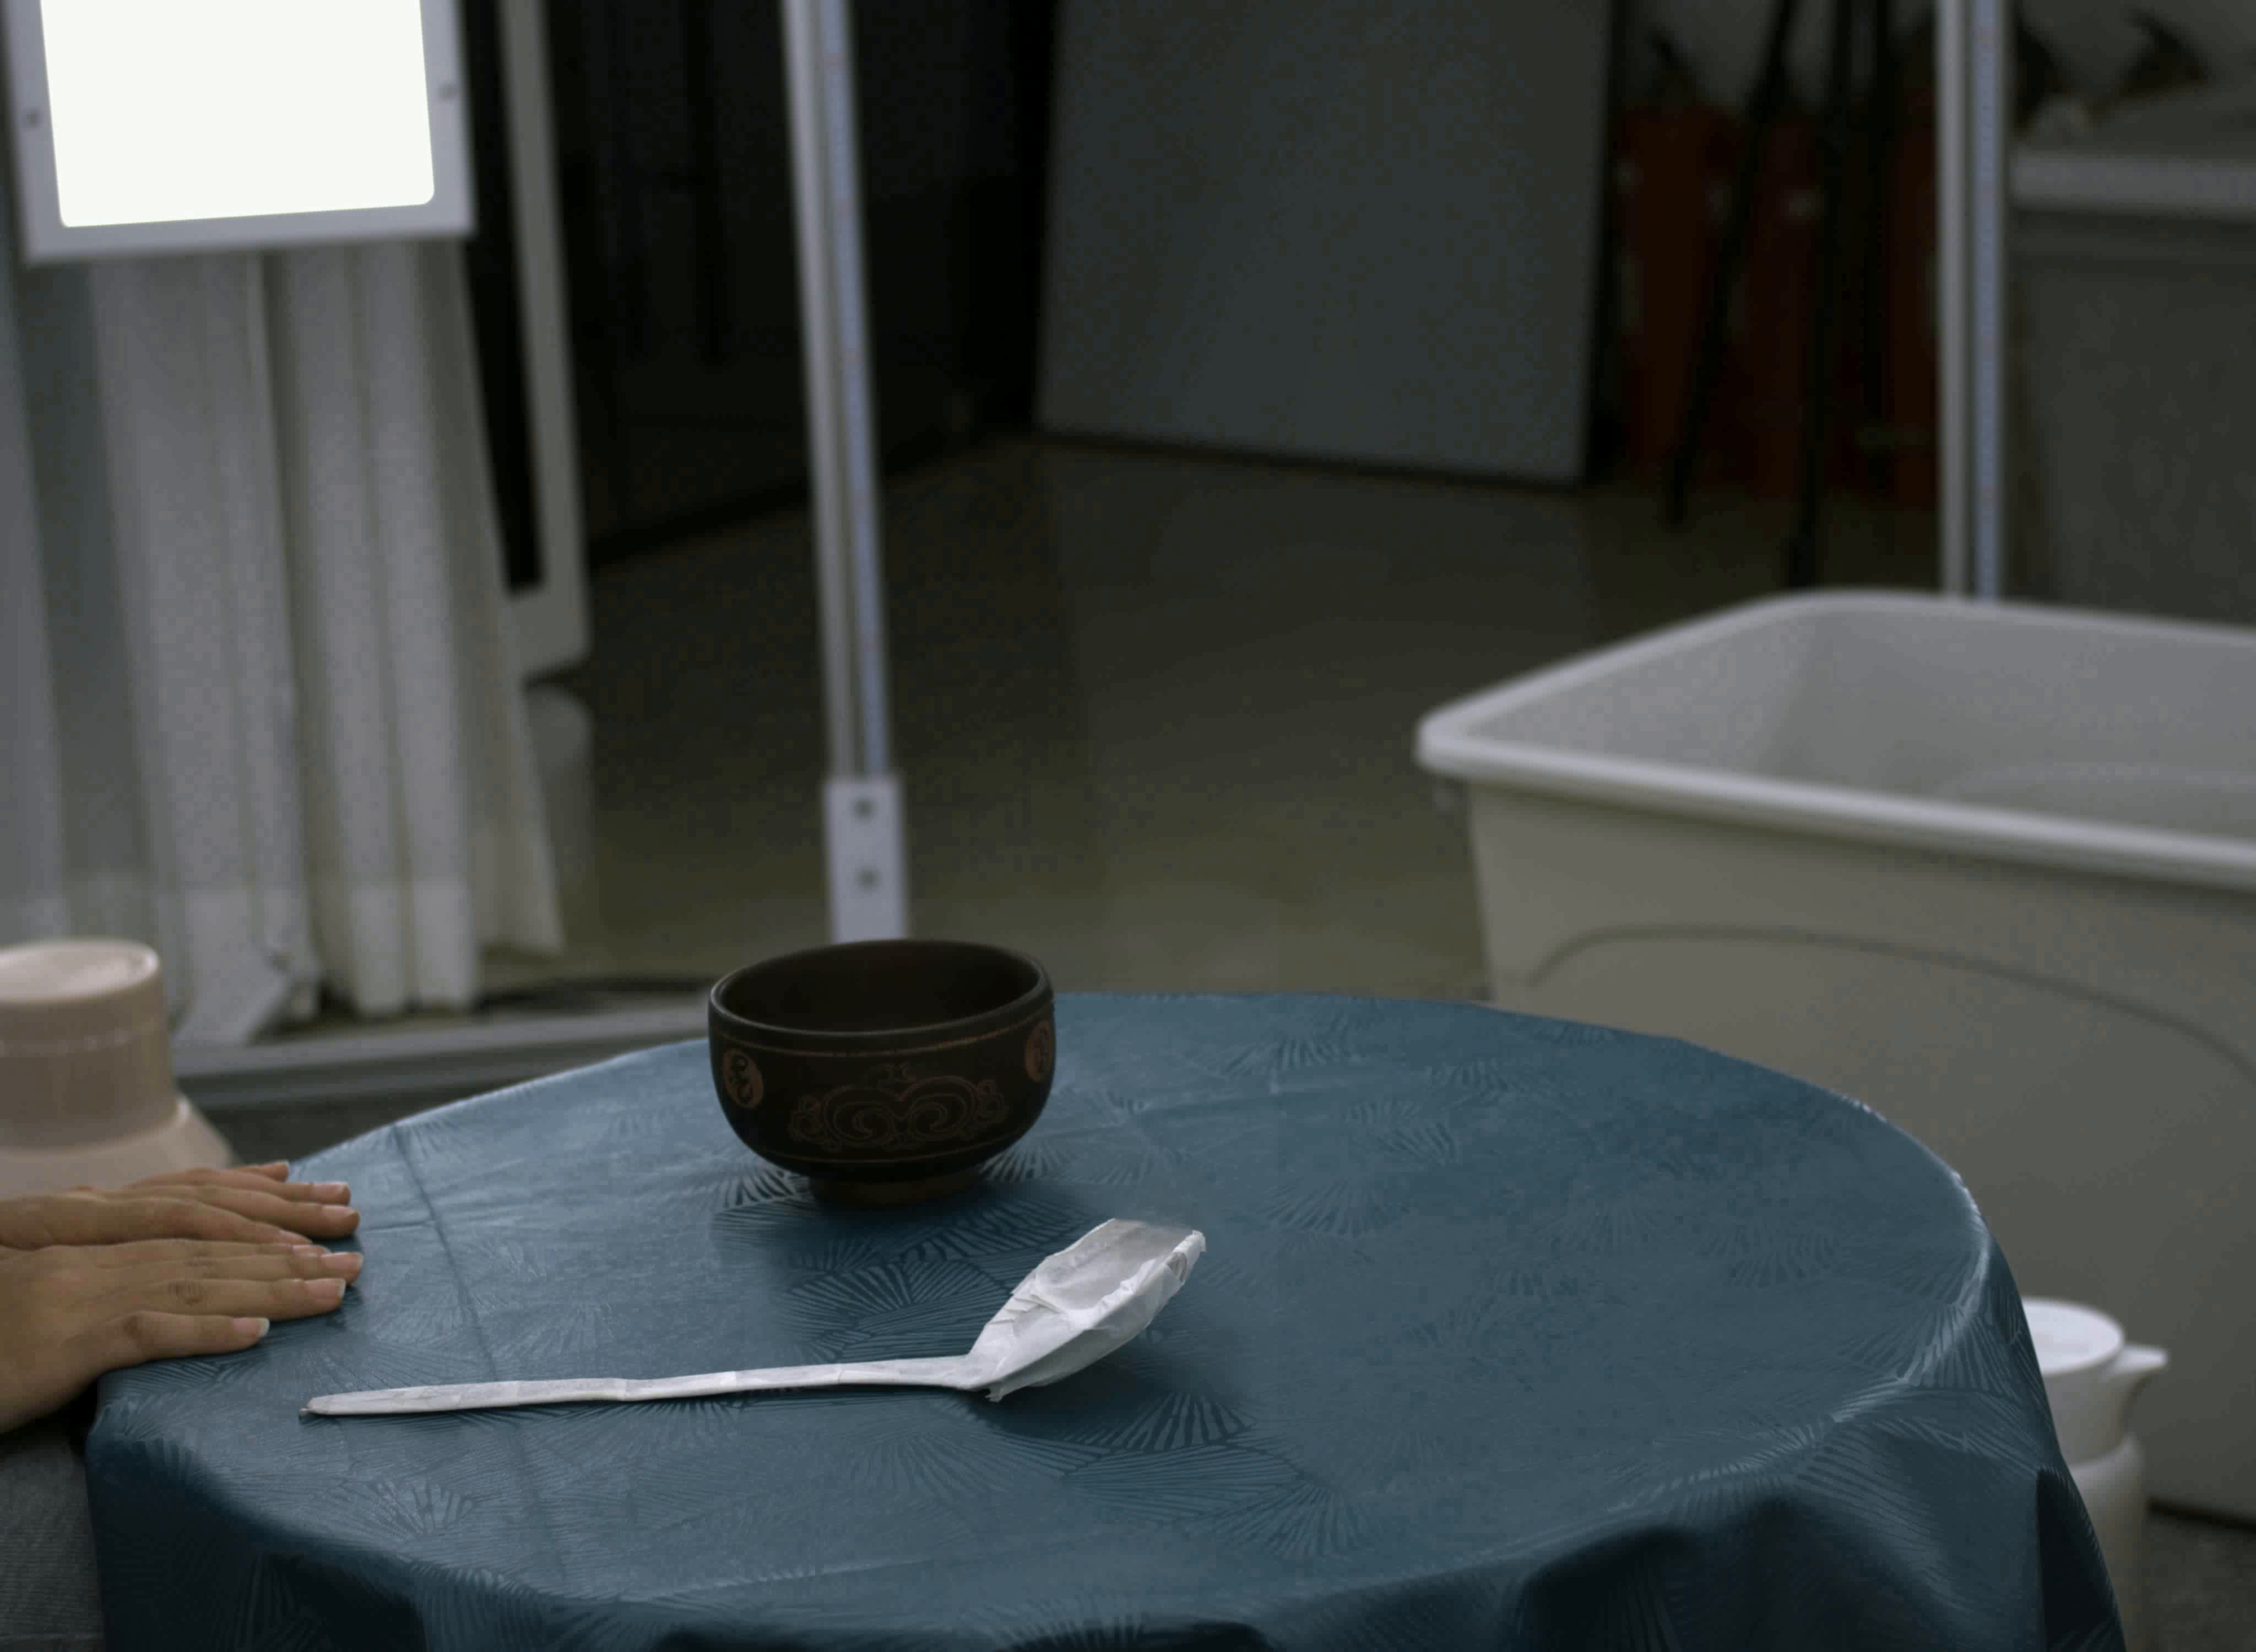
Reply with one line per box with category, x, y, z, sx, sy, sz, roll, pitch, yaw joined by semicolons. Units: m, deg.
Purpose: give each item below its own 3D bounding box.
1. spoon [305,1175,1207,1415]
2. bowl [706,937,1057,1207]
spoon;-0.111;0.139;1.609;0.275;0.060;0.100;-3;10;7
bowl;-0.080;0.085;1.789;0.116;0.070;0.118;-4;13;0
